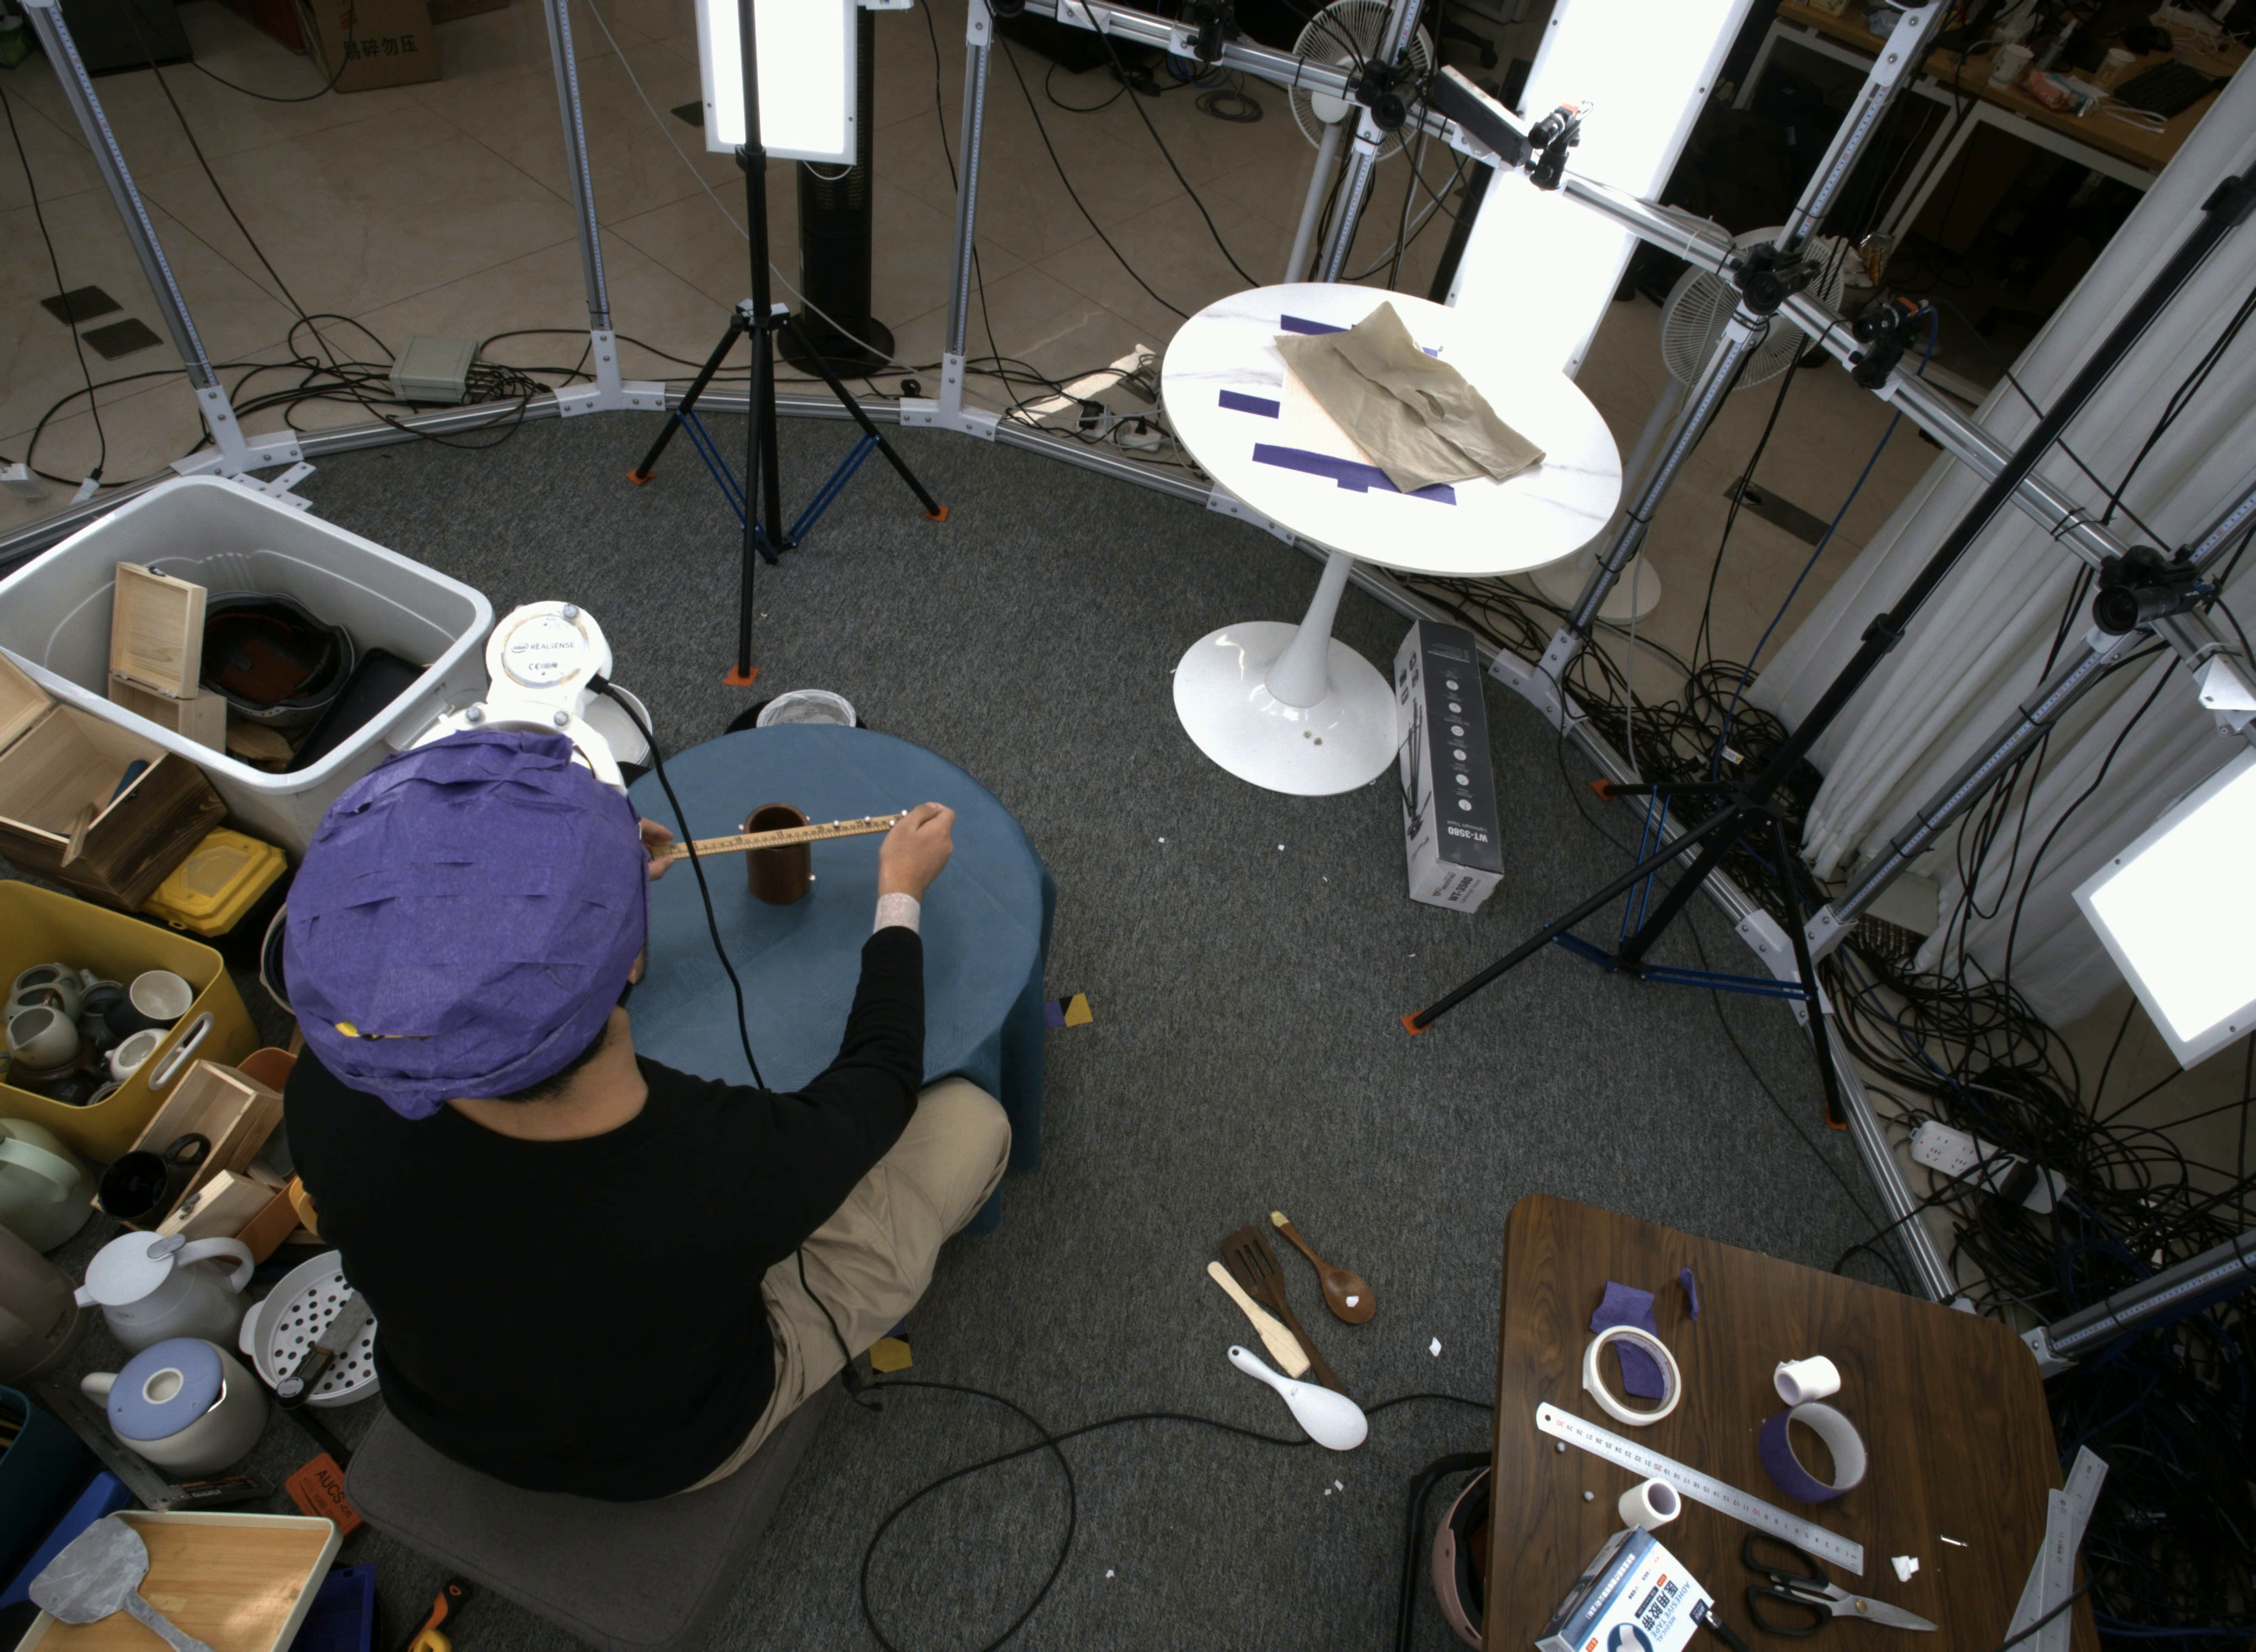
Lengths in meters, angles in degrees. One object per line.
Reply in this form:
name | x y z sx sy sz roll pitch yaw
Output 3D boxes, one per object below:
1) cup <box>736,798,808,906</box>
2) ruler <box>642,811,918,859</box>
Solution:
cup | -0.442 0.032 1.615 0.087 0.121 0.086 6 52 -6
ruler | -0.412 0.006 1.554 0.335 0.023 0.026 -7 40 -29
